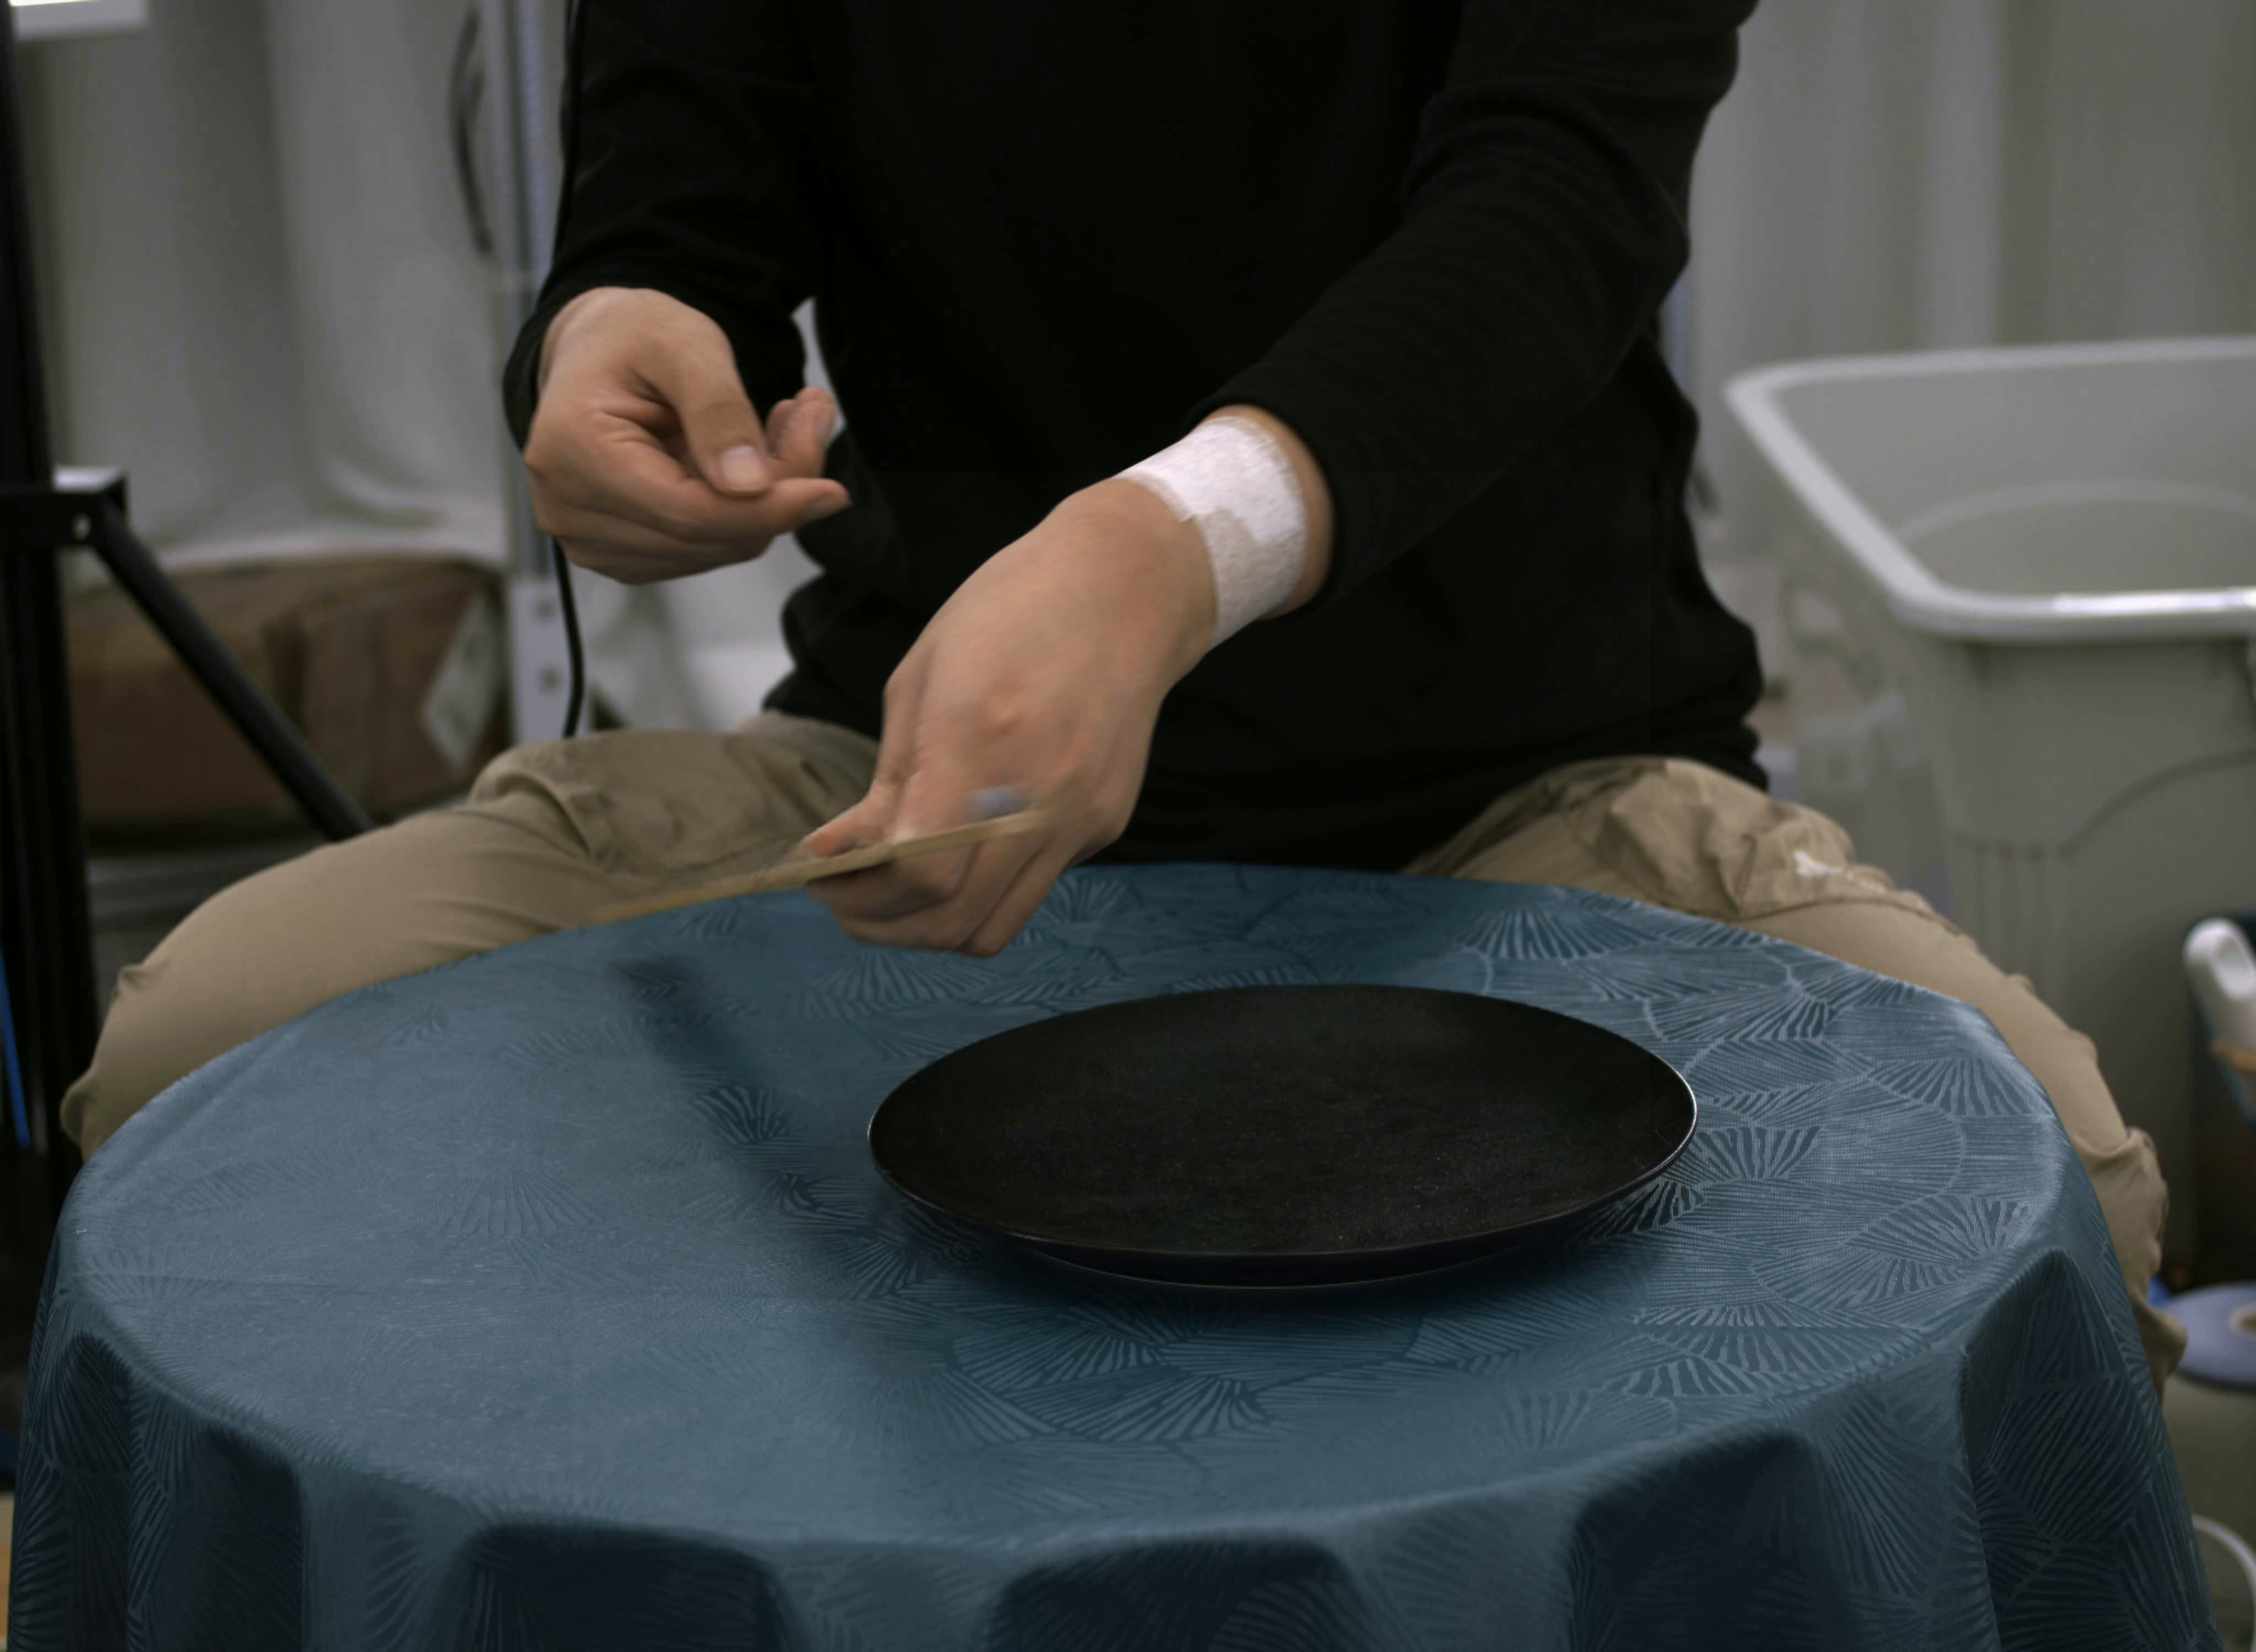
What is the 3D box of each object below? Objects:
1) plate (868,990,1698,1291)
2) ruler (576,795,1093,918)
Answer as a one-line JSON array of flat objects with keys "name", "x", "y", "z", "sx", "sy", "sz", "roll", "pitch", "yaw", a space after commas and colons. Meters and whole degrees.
[{"name": "plate", "x": 0.046, "y": 0.094, "z": 1.555, "sx": 0.243, "sy": 0.023, "sz": 0.245, "roll": -3, "pitch": 16, "yaw": -1}, {"name": "ruler", "x": -0.096, "y": 0.011, "z": 1.557, "sx": 0.026, "sy": 0.006, "sz": 0.506, "roll": -12, "pitch": 0, "yaw": -18}]
